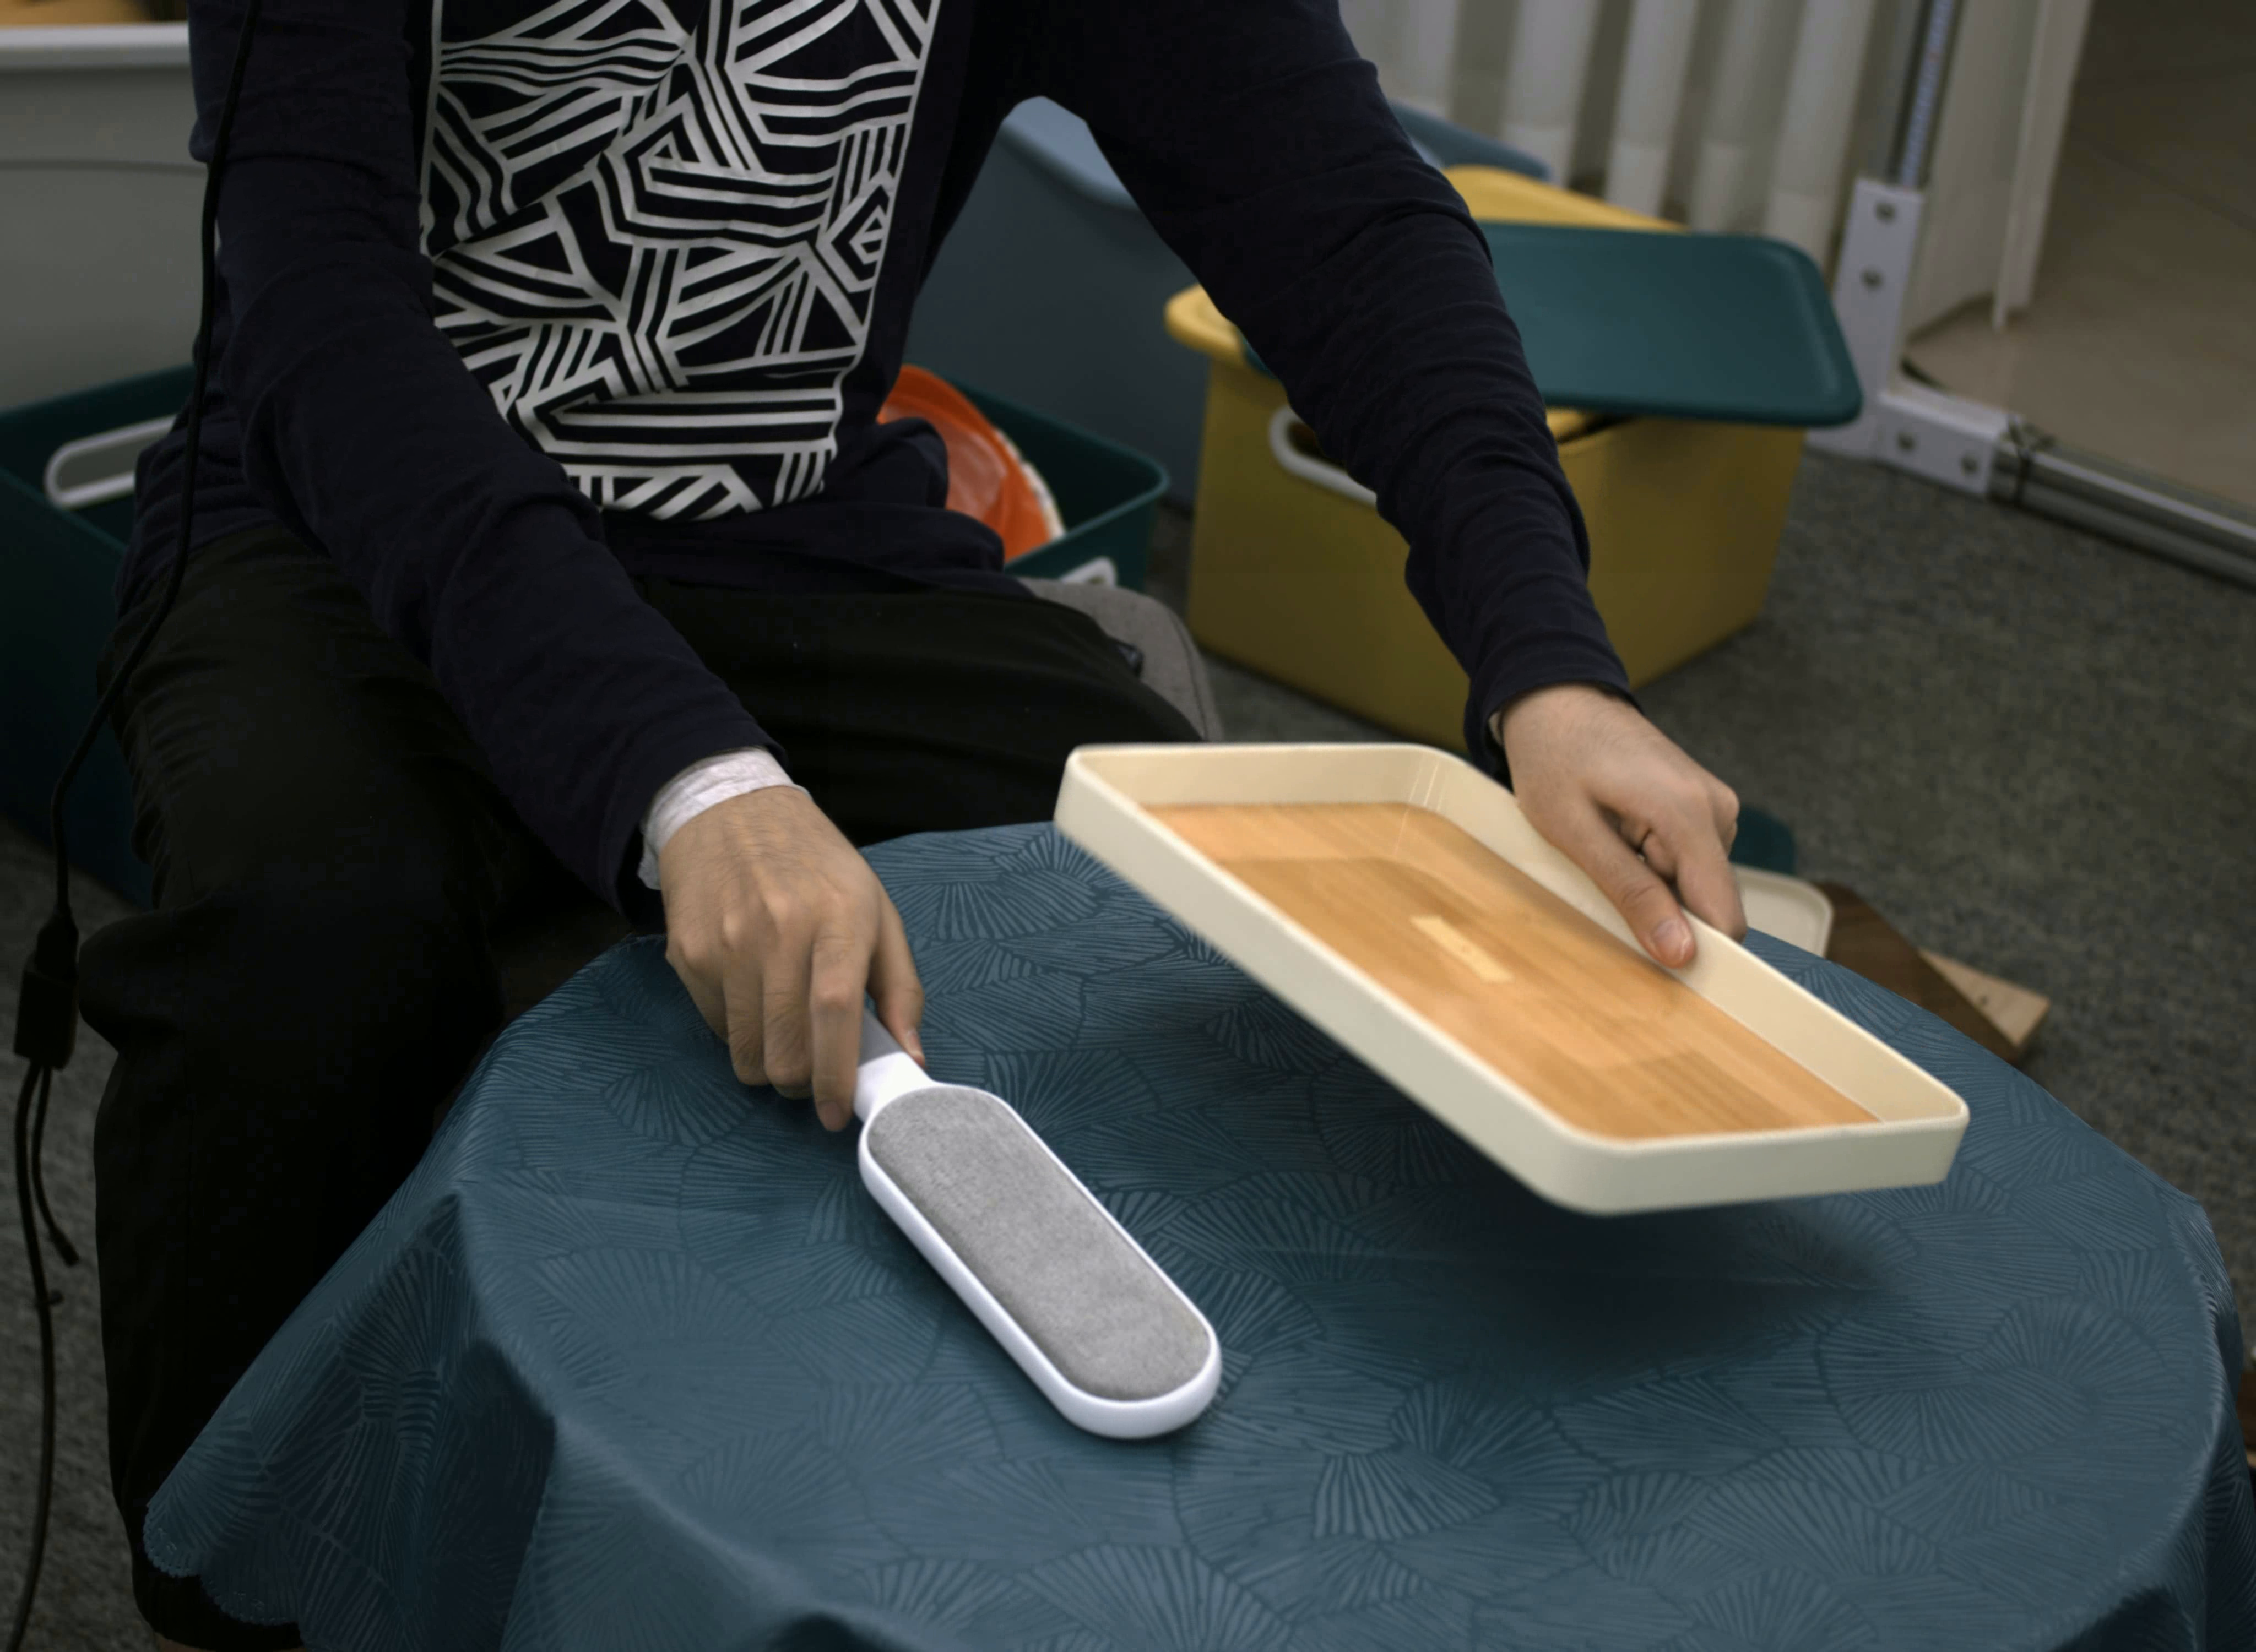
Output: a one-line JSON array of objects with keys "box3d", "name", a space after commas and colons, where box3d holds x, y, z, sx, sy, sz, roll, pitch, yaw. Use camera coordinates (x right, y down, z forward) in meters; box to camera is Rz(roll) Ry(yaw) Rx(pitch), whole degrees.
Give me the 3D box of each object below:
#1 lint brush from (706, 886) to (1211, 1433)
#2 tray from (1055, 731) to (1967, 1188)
[{"box3d": [-0.064, 0.104, 1.771, 0.060, 0.021, 0.312, -27, 42, -17], "name": "lint brush"}, {"box3d": [0.127, 0.043, 1.829, 0.190, 0.027, 0.303, 2, 23, -39], "name": "tray"}]
